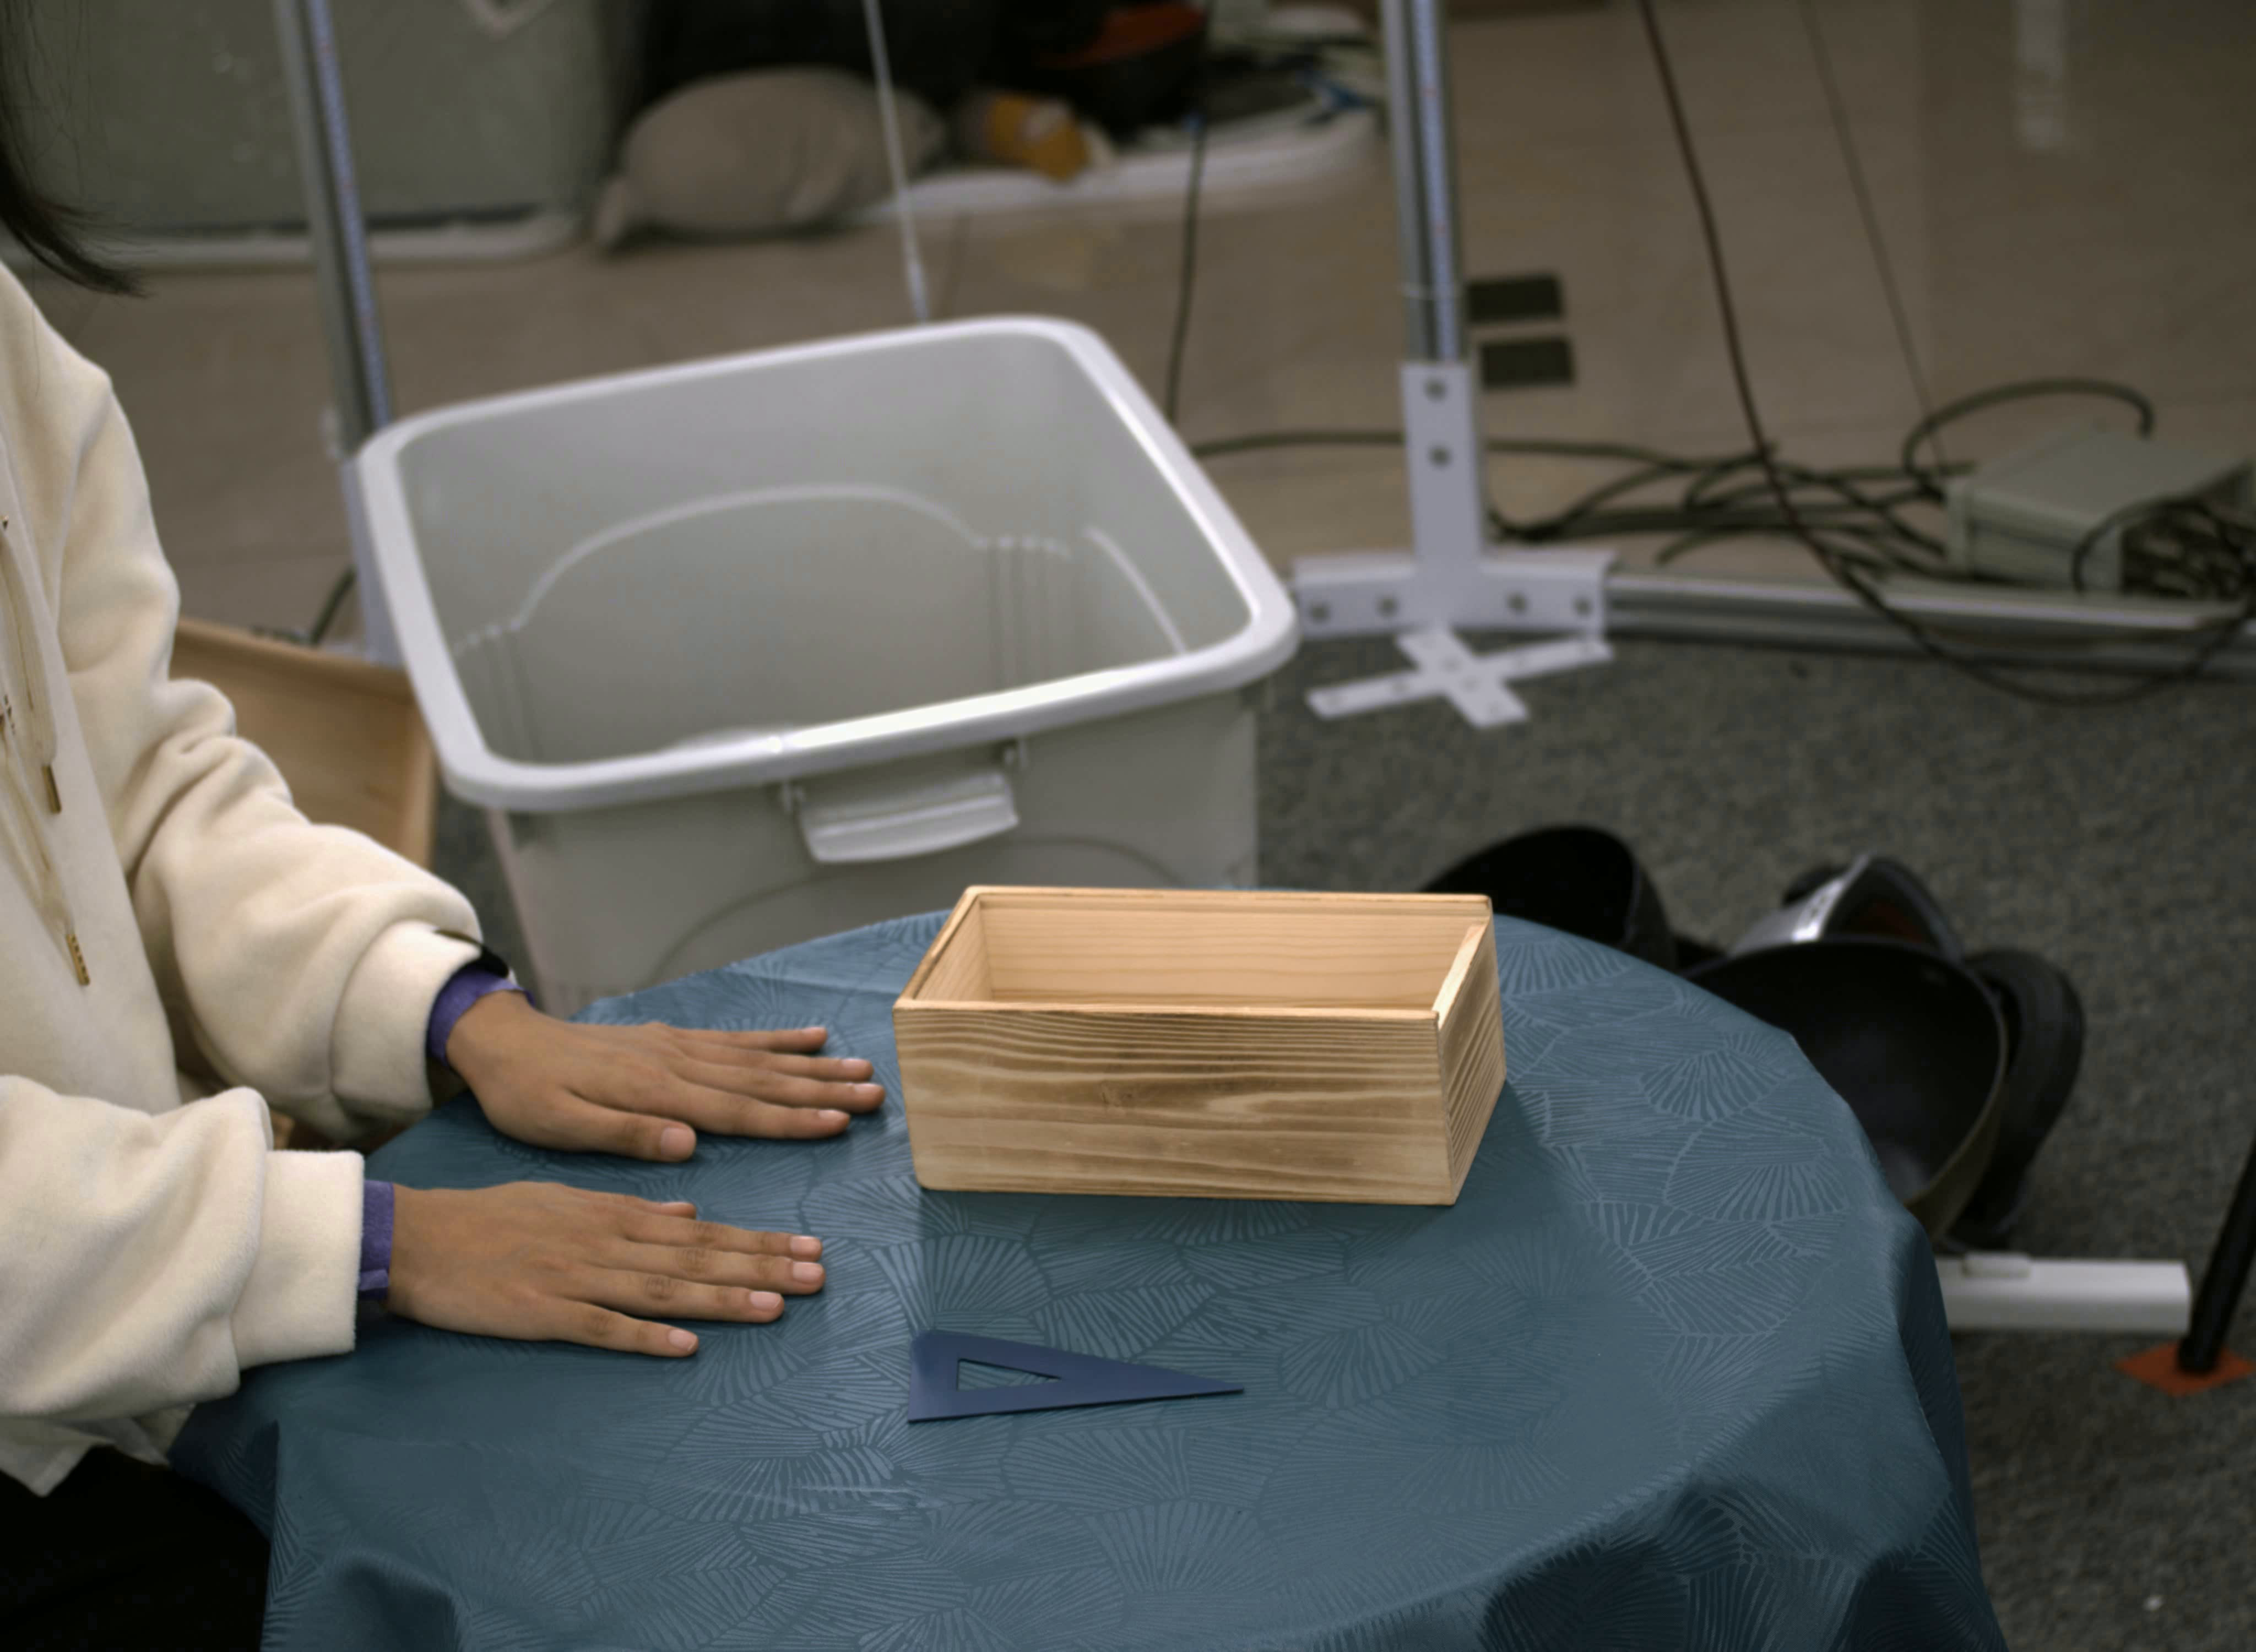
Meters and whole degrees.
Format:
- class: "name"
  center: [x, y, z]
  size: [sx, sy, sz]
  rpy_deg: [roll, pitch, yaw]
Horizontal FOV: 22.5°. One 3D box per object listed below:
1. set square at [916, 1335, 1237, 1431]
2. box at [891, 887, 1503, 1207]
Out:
- class: "set square"
  center: [-0.028, 0.205, 2.008]
  size: [0.131, 0.006, 0.060]
  rpy_deg: [11, 29, 33]
- class: "box"
  center: [0.028, 0.083, 2.166]
  size: [0.211, 0.081, 0.106]
  rpy_deg: [1, 26, 15]
